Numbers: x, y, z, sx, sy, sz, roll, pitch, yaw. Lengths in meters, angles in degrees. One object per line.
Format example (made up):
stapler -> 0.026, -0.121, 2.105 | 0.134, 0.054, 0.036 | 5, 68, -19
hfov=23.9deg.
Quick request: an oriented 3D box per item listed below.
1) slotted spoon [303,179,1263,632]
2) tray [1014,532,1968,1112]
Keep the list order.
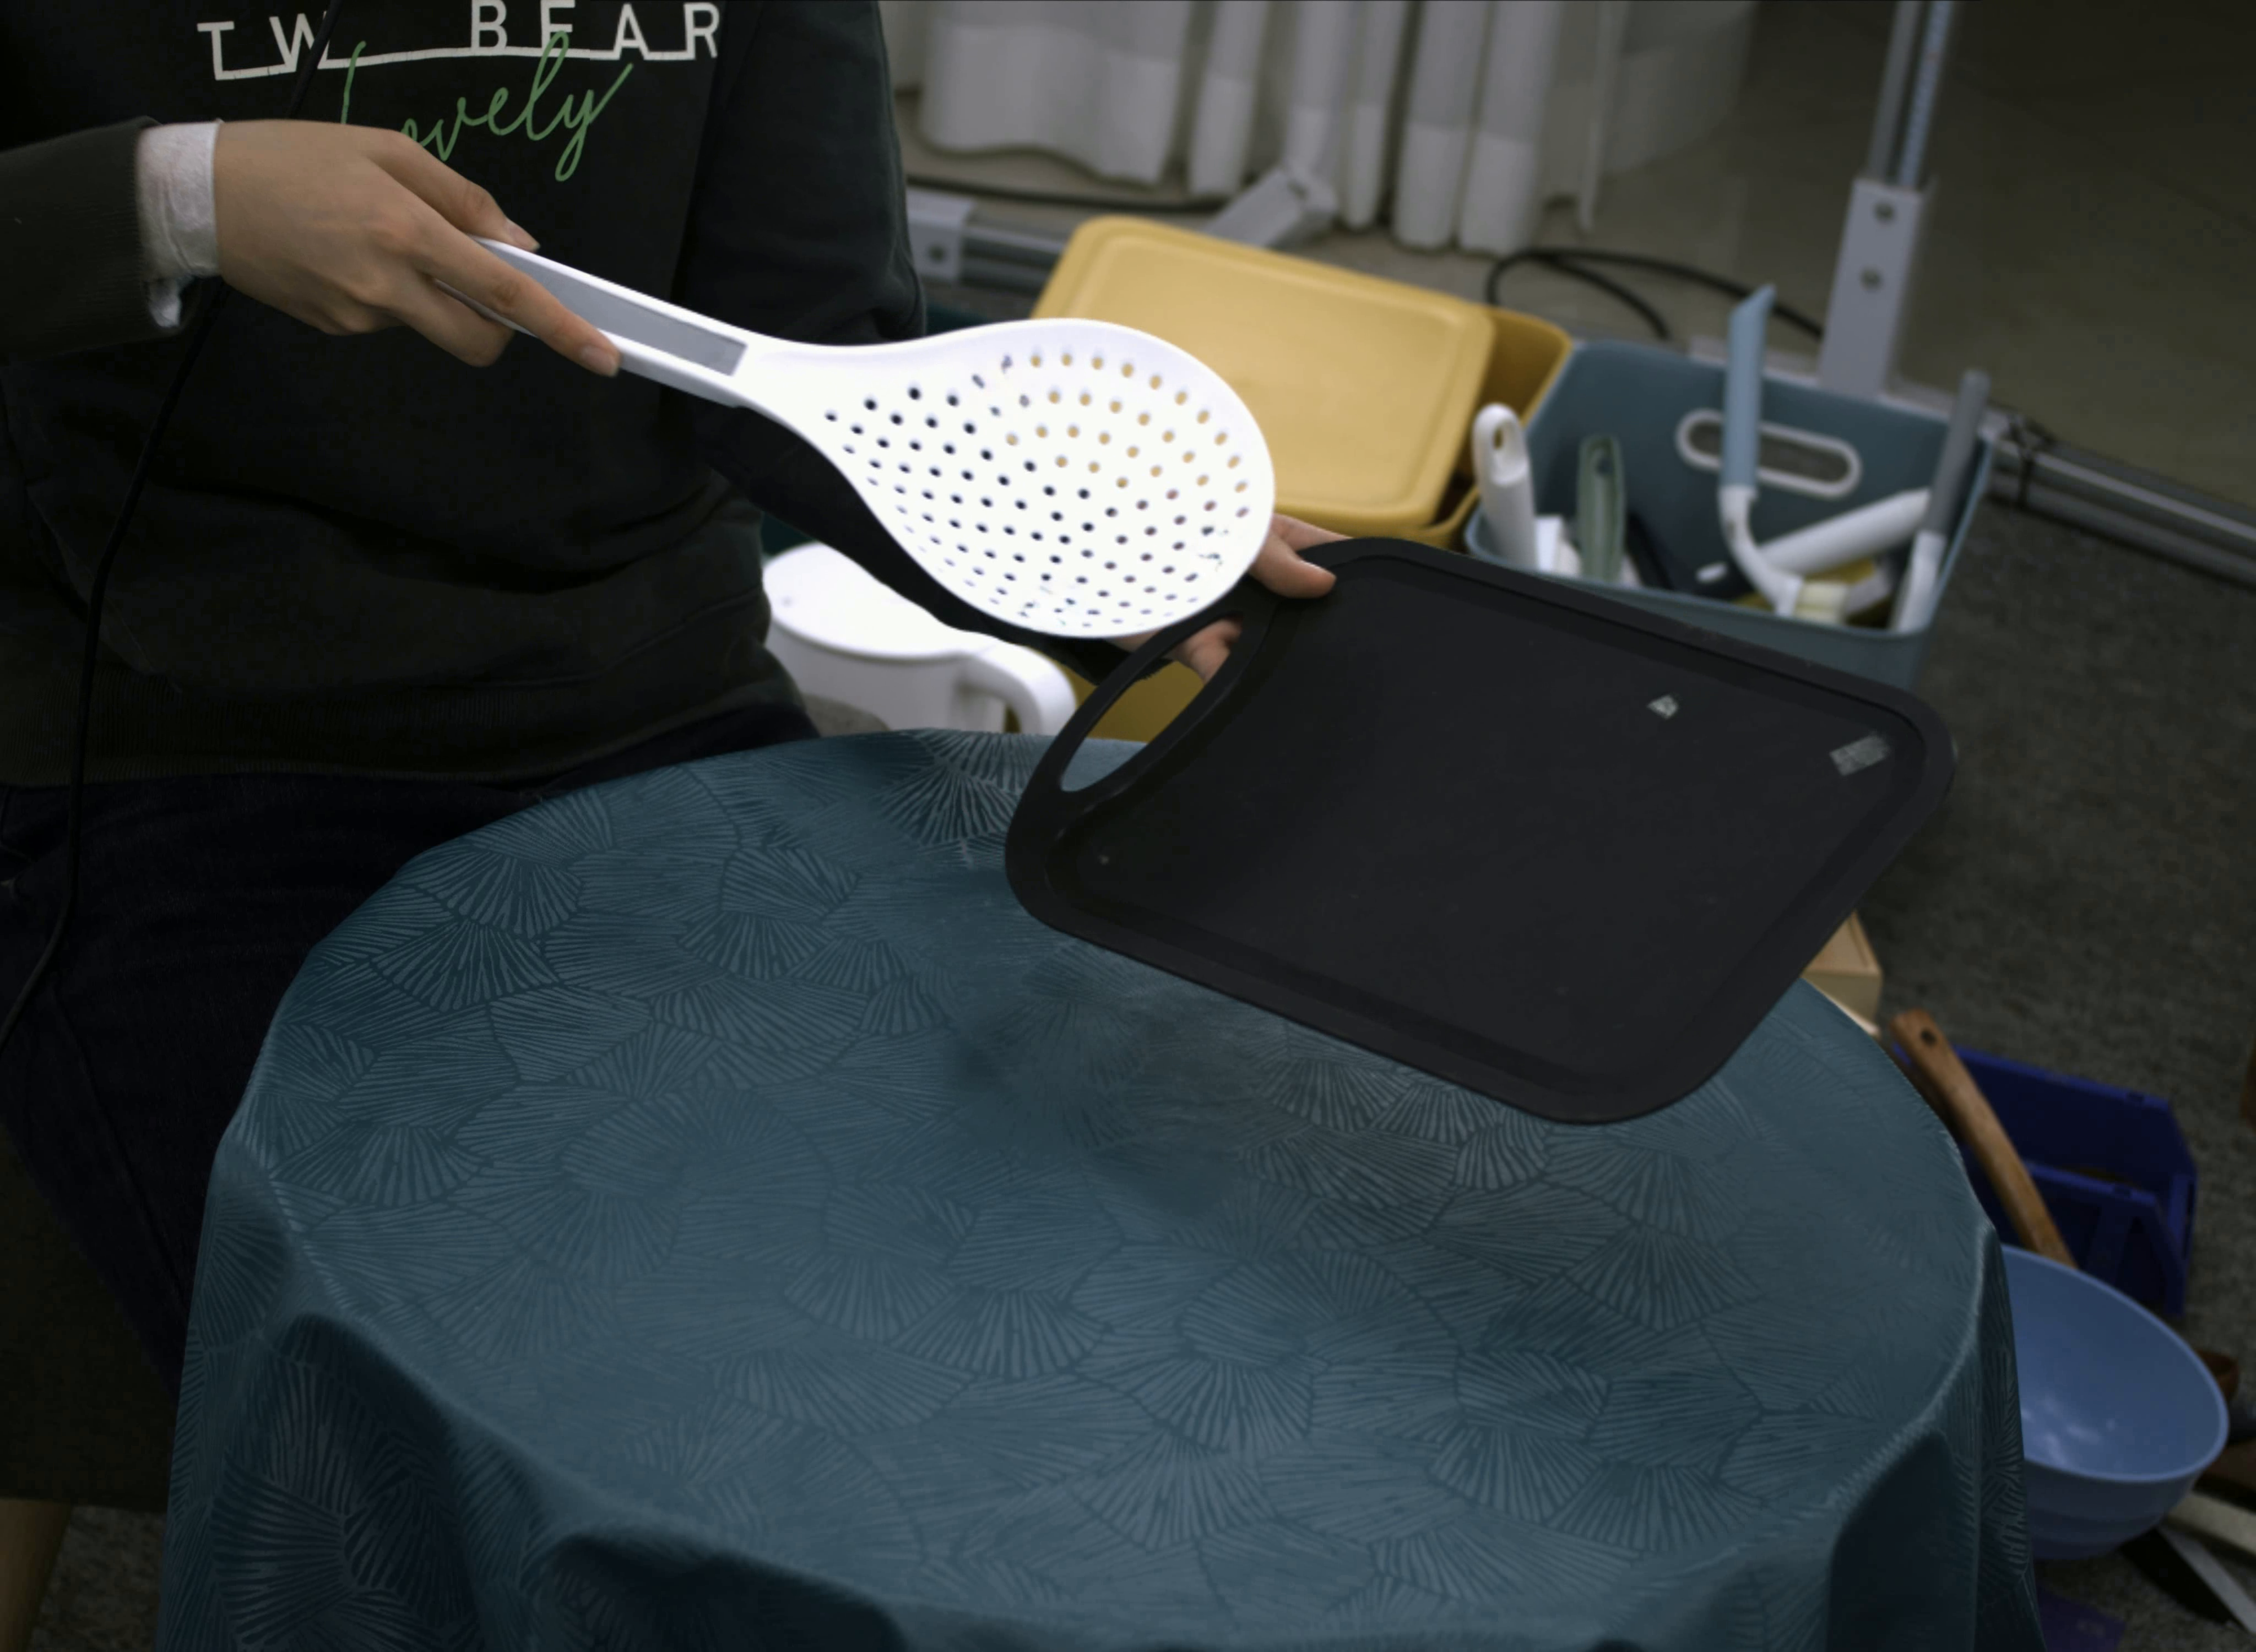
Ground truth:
slotted spoon -> -0.122, -0.154, 1.846 | 0.349, 0.045, 0.136 | 23, 54, 2
tray -> 0.111, -0.010, 1.807 | 0.328, 0.010, 0.211 | 20, 56, 40
